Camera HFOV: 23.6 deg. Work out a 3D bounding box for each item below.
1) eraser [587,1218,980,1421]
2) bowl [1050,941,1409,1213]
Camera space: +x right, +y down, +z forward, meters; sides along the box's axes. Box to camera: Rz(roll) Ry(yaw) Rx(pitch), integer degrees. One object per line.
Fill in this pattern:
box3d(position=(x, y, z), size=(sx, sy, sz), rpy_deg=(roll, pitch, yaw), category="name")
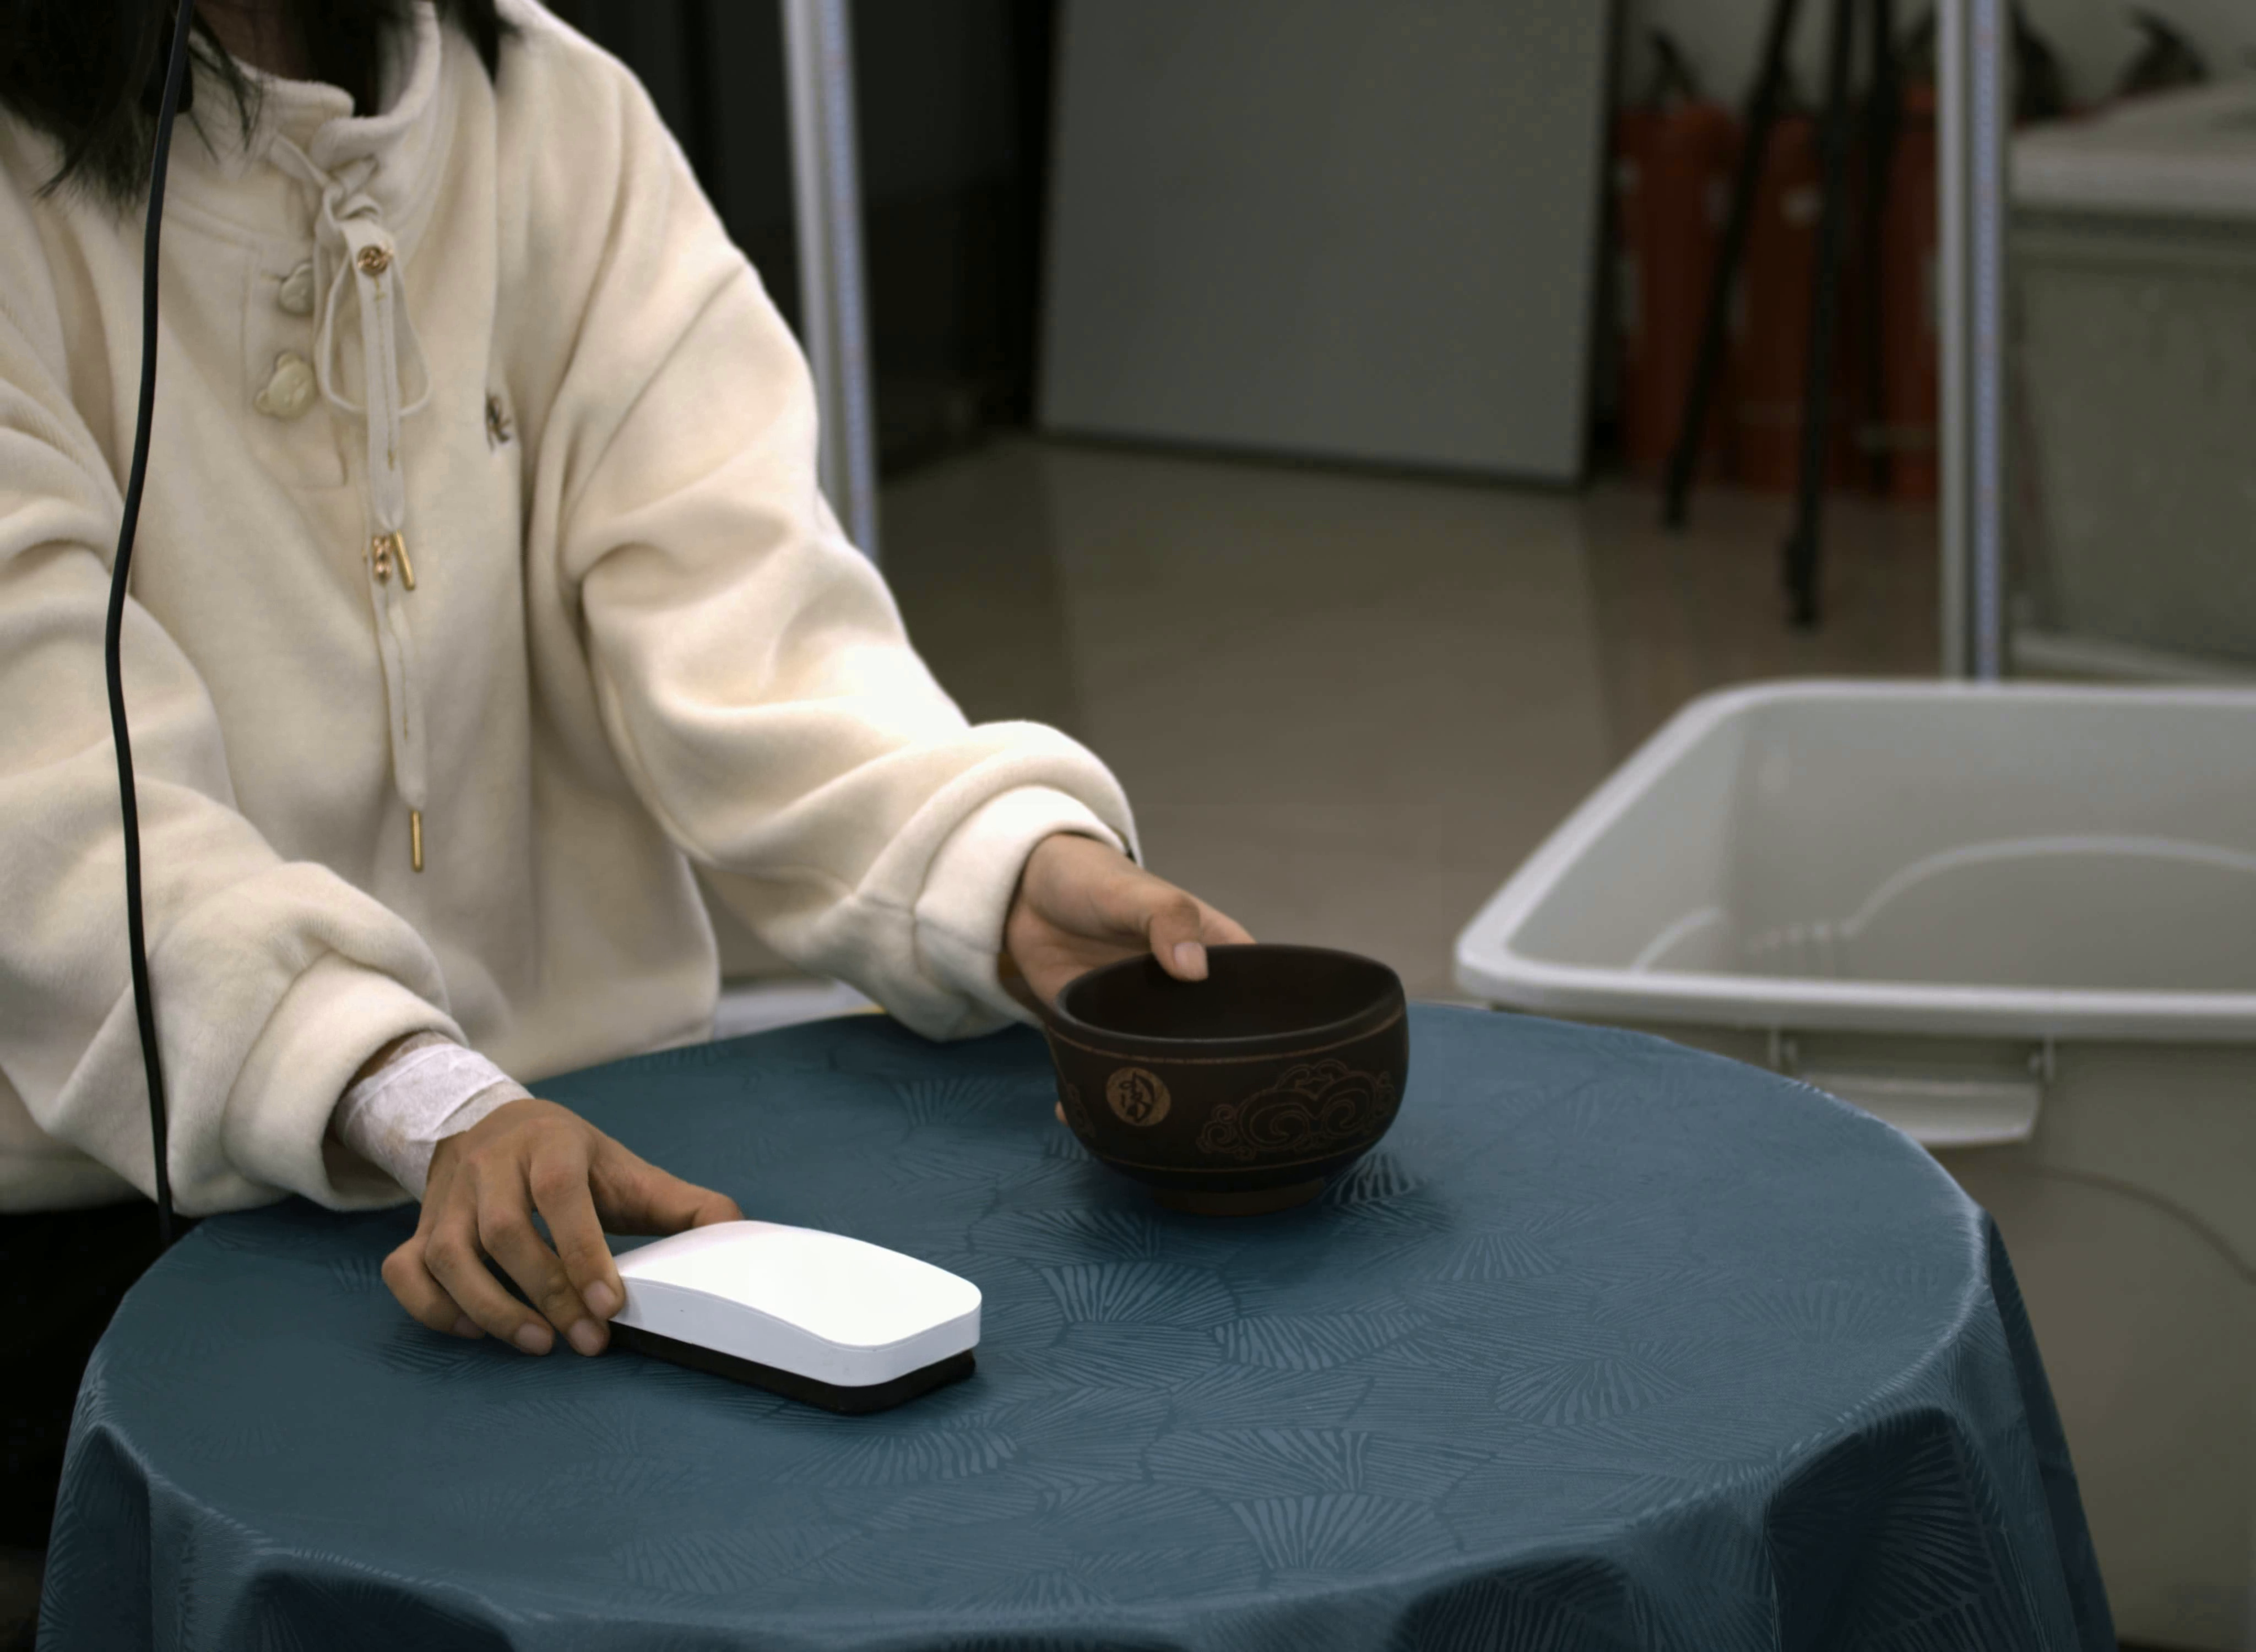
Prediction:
box3d(position=(-0.103, 0.147, 1.634), size=(0.062, 0.035, 0.132), rpy_deg=(-17, 19, -42), category="eraser")
box3d(position=(0.034, 0.085, 1.755), size=(0.116, 0.070, 0.118), rpy_deg=(-3, 12, 0), category="bowl")
